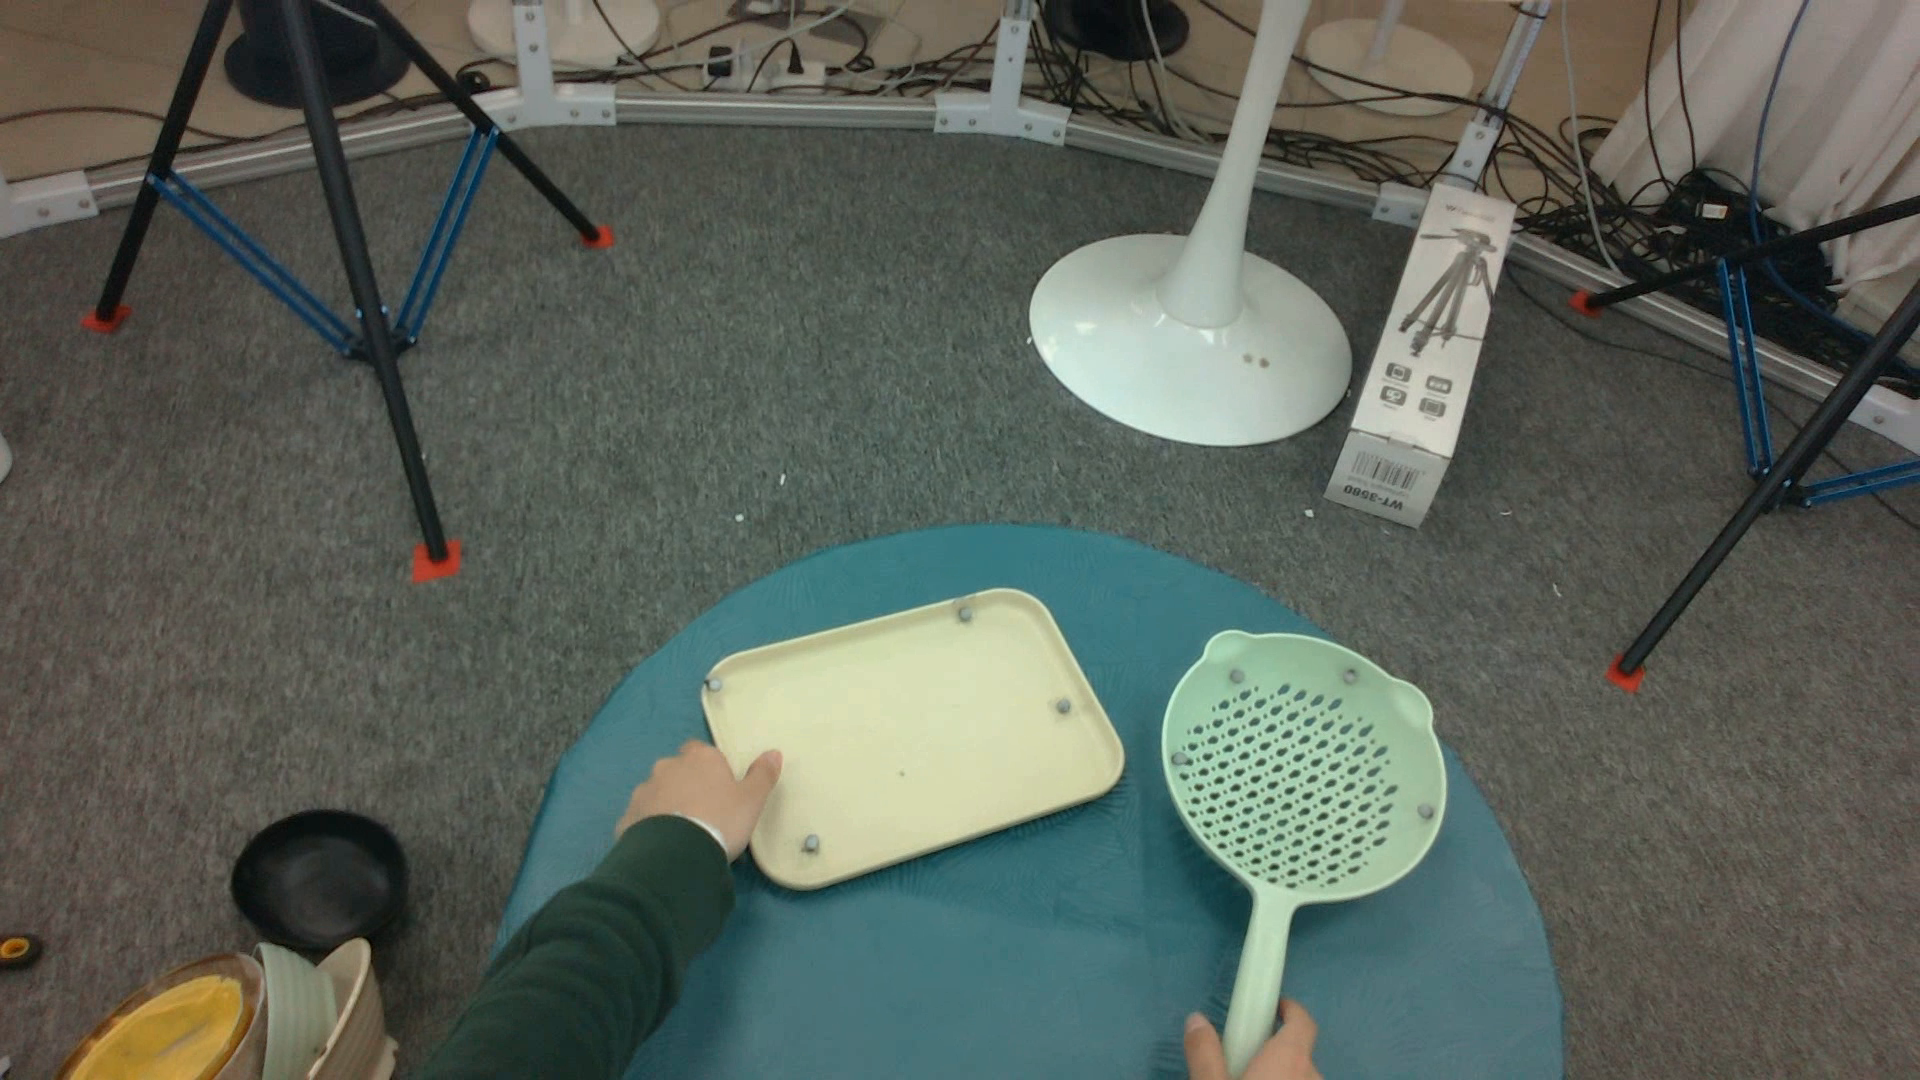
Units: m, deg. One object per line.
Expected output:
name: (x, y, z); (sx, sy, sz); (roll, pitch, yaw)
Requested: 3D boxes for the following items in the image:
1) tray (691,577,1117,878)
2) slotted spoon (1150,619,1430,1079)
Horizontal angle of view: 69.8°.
tray: (-0.035, 0.111, 0.860); (0.240, 0.017, 0.172); (-14, 51, -20)
slotted spoon: (0.166, 0.204, 0.776); (0.169, 0.075, 0.361); (17, 48, 7)
